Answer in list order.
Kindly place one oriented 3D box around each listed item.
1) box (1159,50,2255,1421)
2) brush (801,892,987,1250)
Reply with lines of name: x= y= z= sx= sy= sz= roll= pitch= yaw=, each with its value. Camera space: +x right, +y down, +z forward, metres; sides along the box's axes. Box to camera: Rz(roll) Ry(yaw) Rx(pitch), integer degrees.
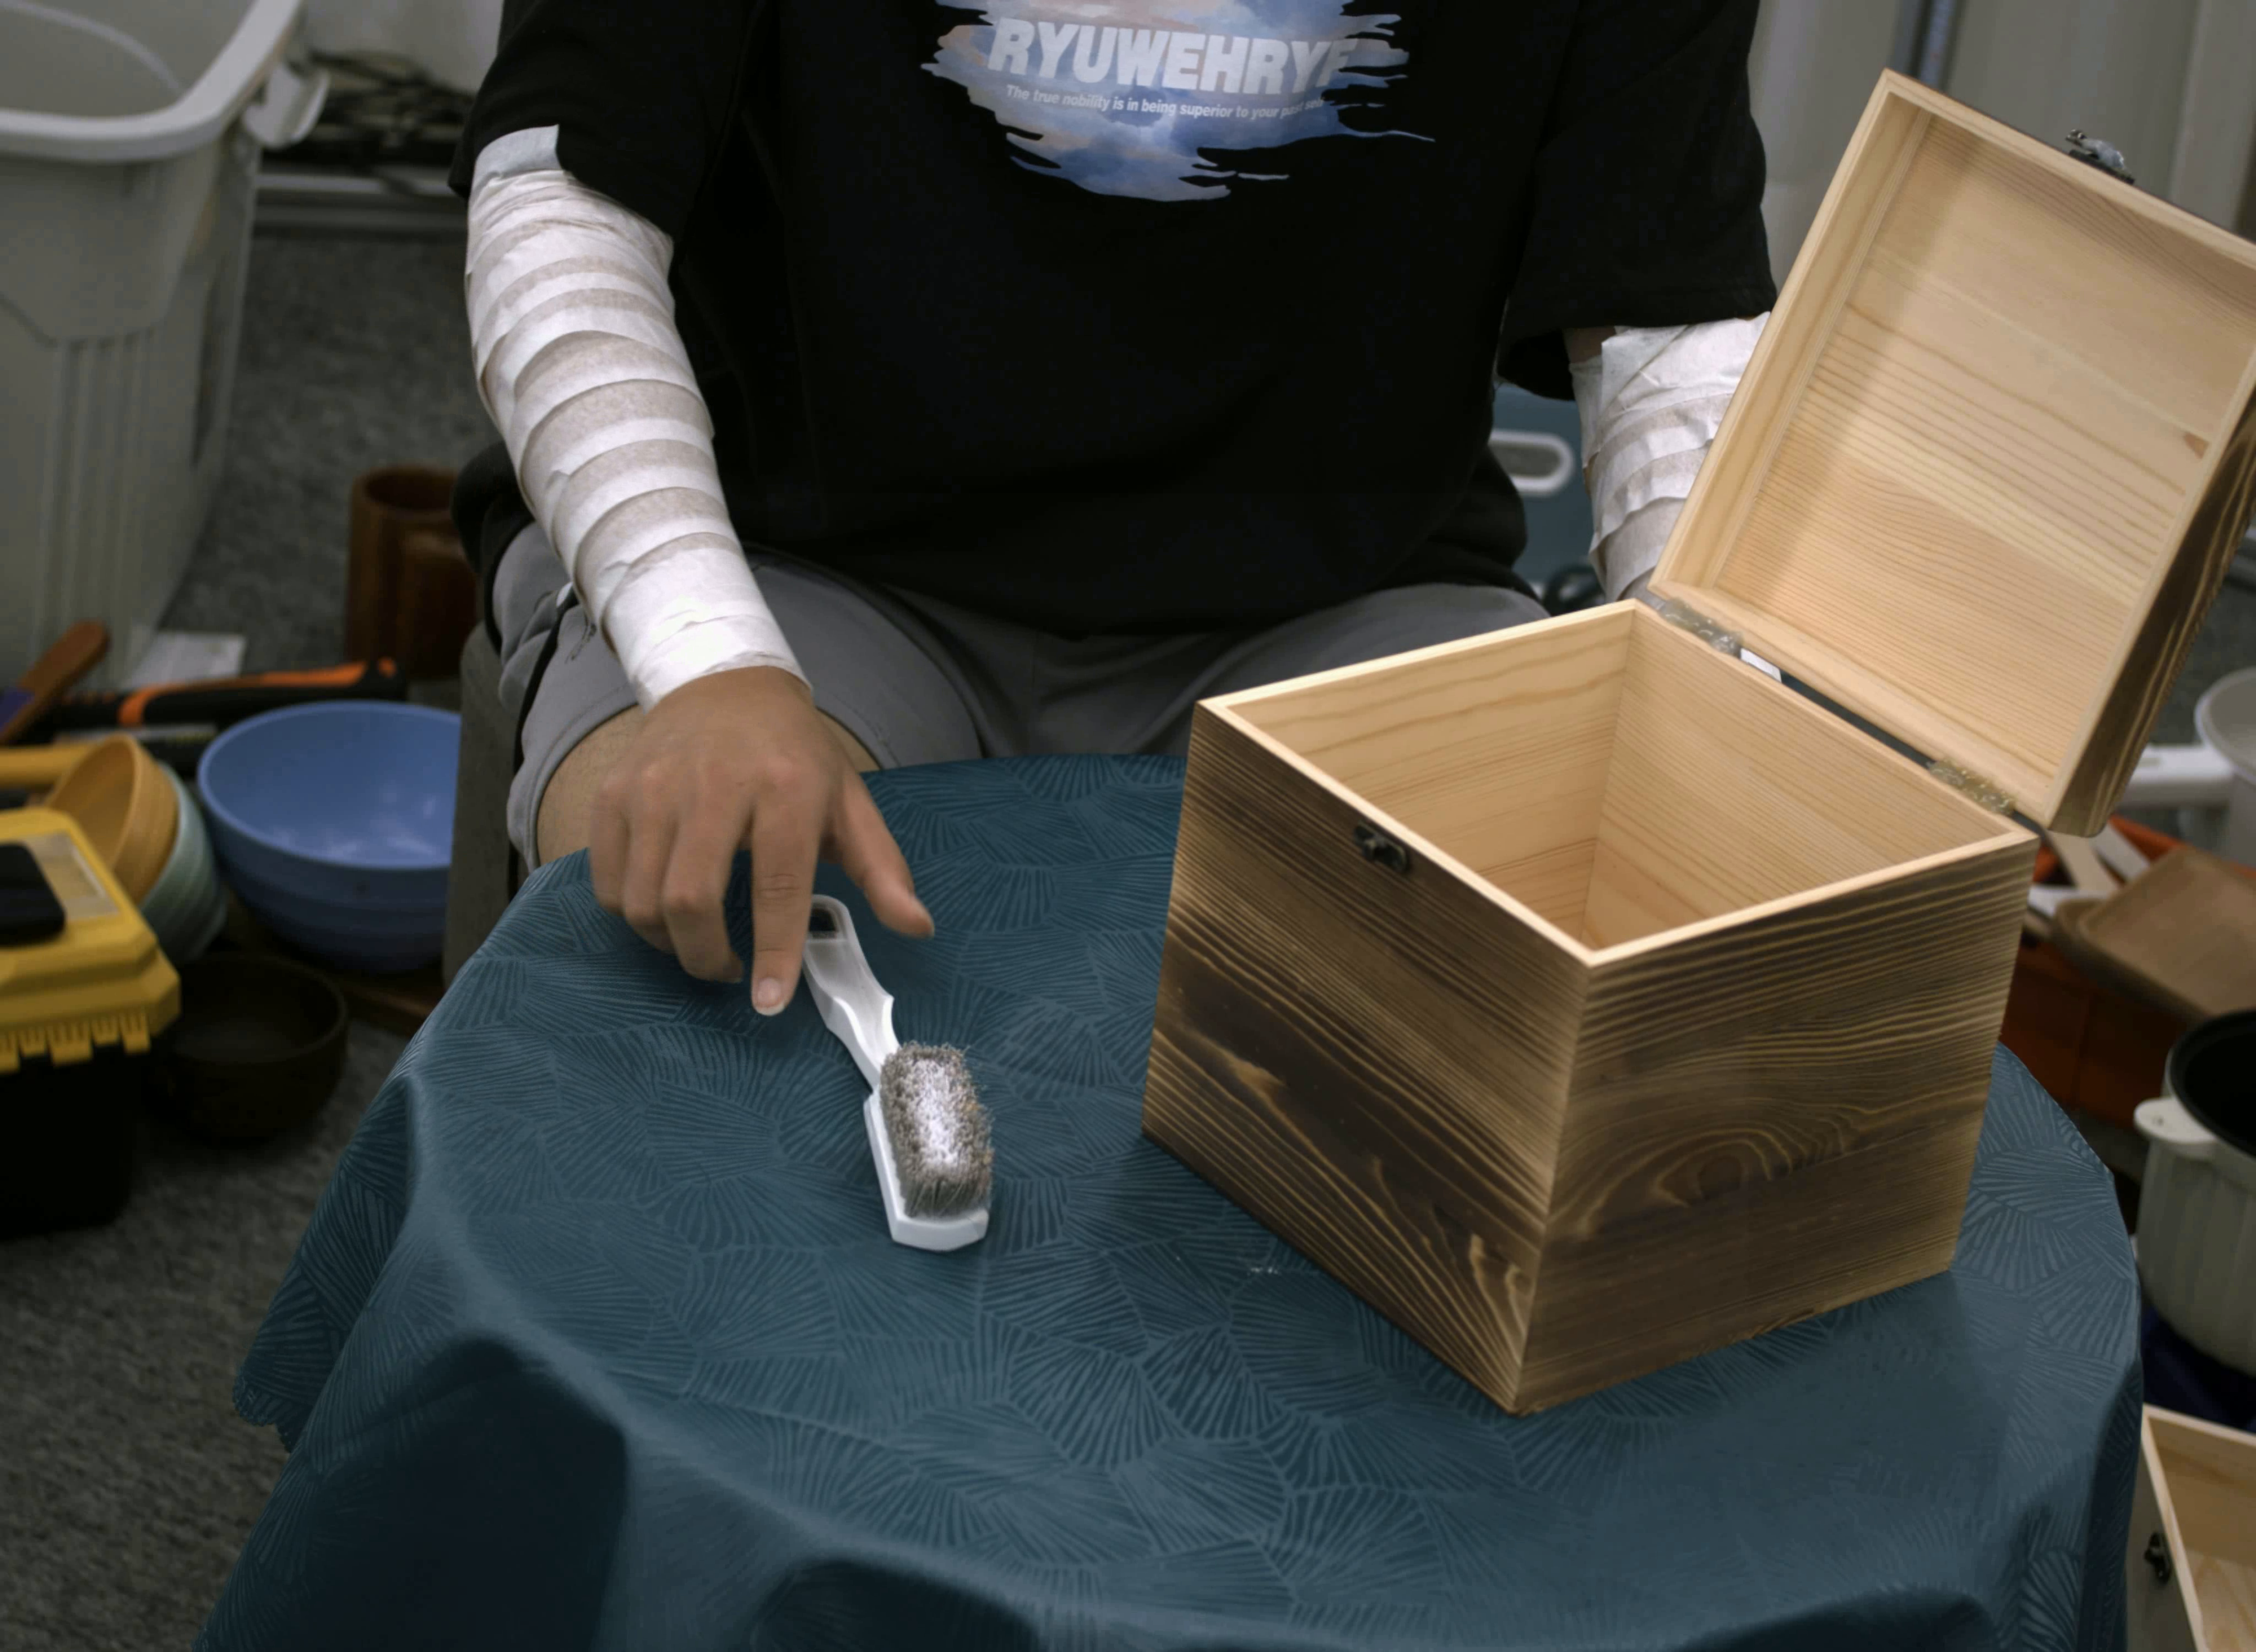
box: x=0.200 y=-0.043 z=1.777 sx=0.320 sy=0.374 sz=0.210 roll=-14 pitch=32 yaw=-35
brush: x=-0.084 y=0.067 z=1.843 sx=0.034 sy=0.050 sz=0.245 roll=0 pitch=28 yaw=-13
